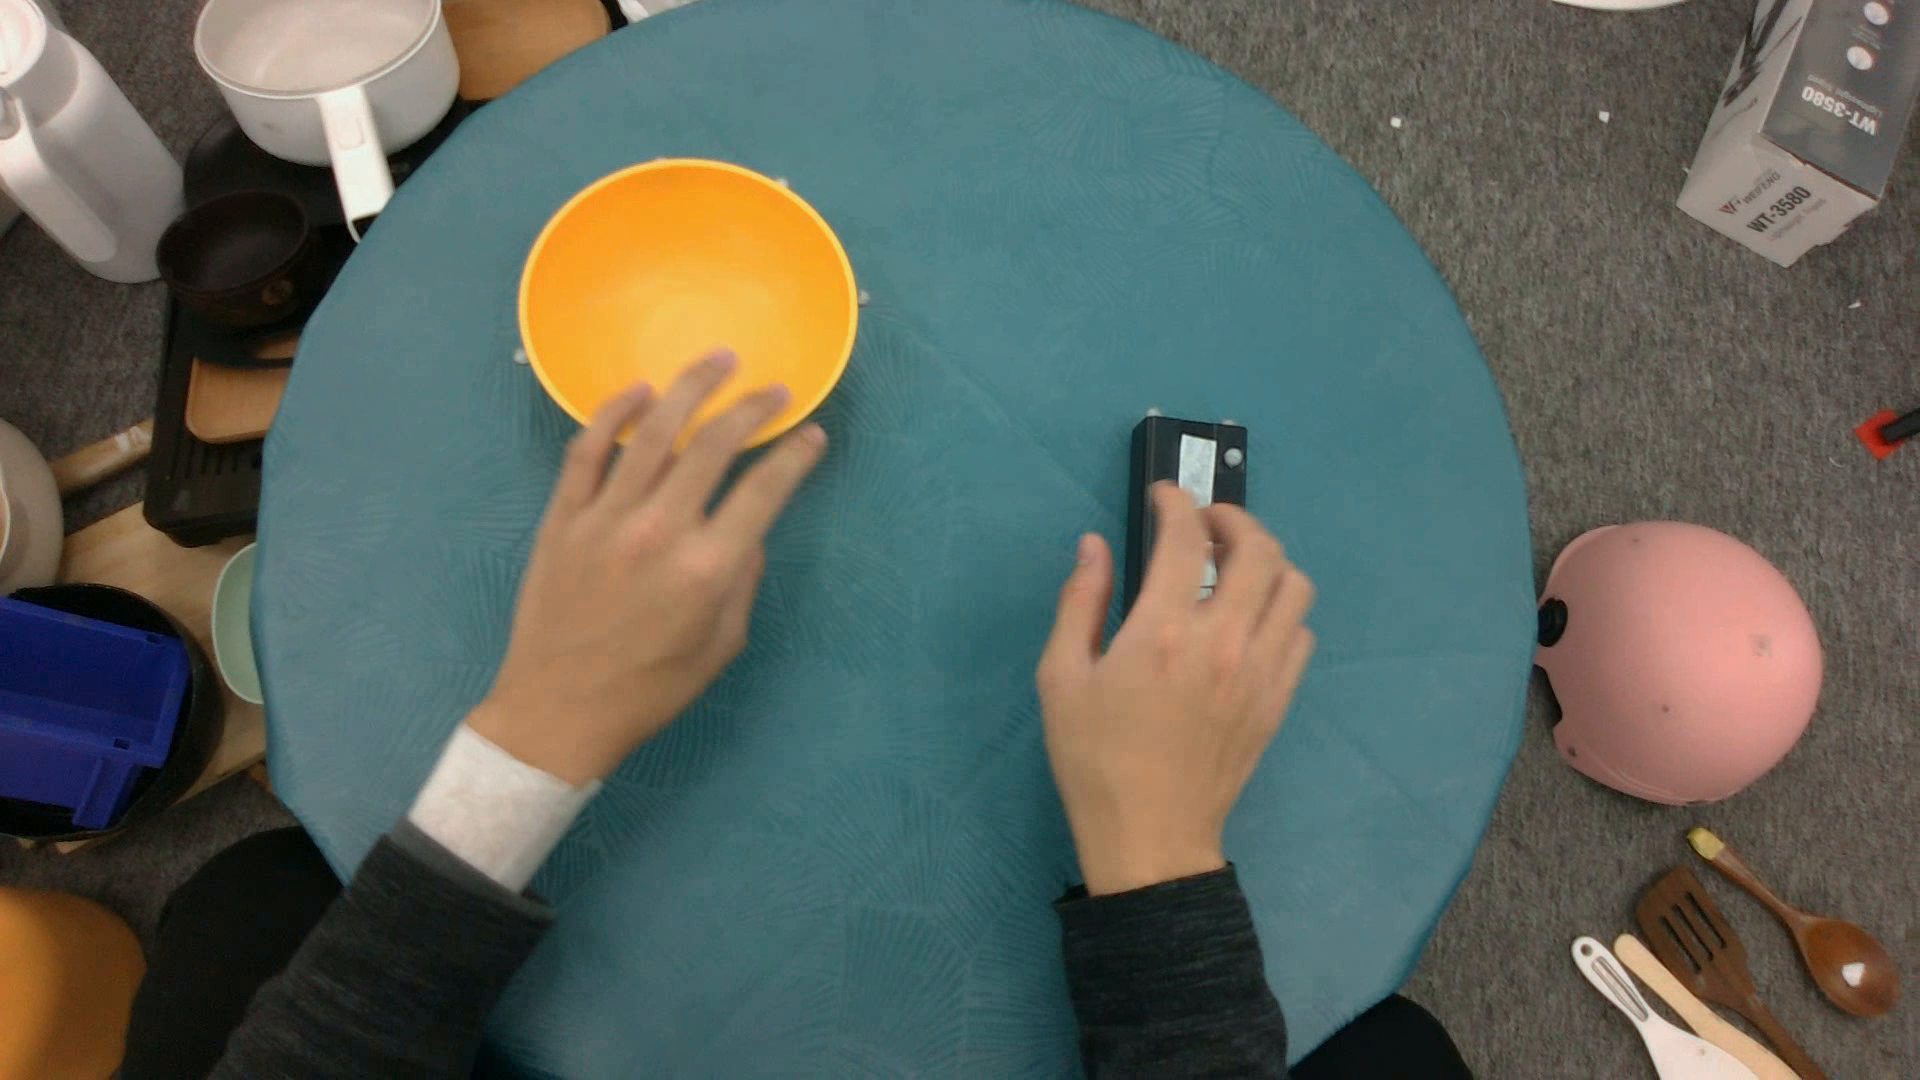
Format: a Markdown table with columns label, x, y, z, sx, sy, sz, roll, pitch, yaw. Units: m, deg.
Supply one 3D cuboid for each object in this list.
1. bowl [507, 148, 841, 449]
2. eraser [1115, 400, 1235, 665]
| label | x | y | z | sx | sy | sz | roll | pitch | yaw |
| --- | --- | --- | --- | --- | --- | --- | --- | --- | --- |
| bowl | -0.127 | -0.101 | 0.631 | 0.145 | 0.060 | 0.145 | 2 | 74 | -5 |
| eraser | 0.100 | -0.004 | 0.647 | 0.053 | 0.030 | 0.126 | 4 | 72 | -4 |
